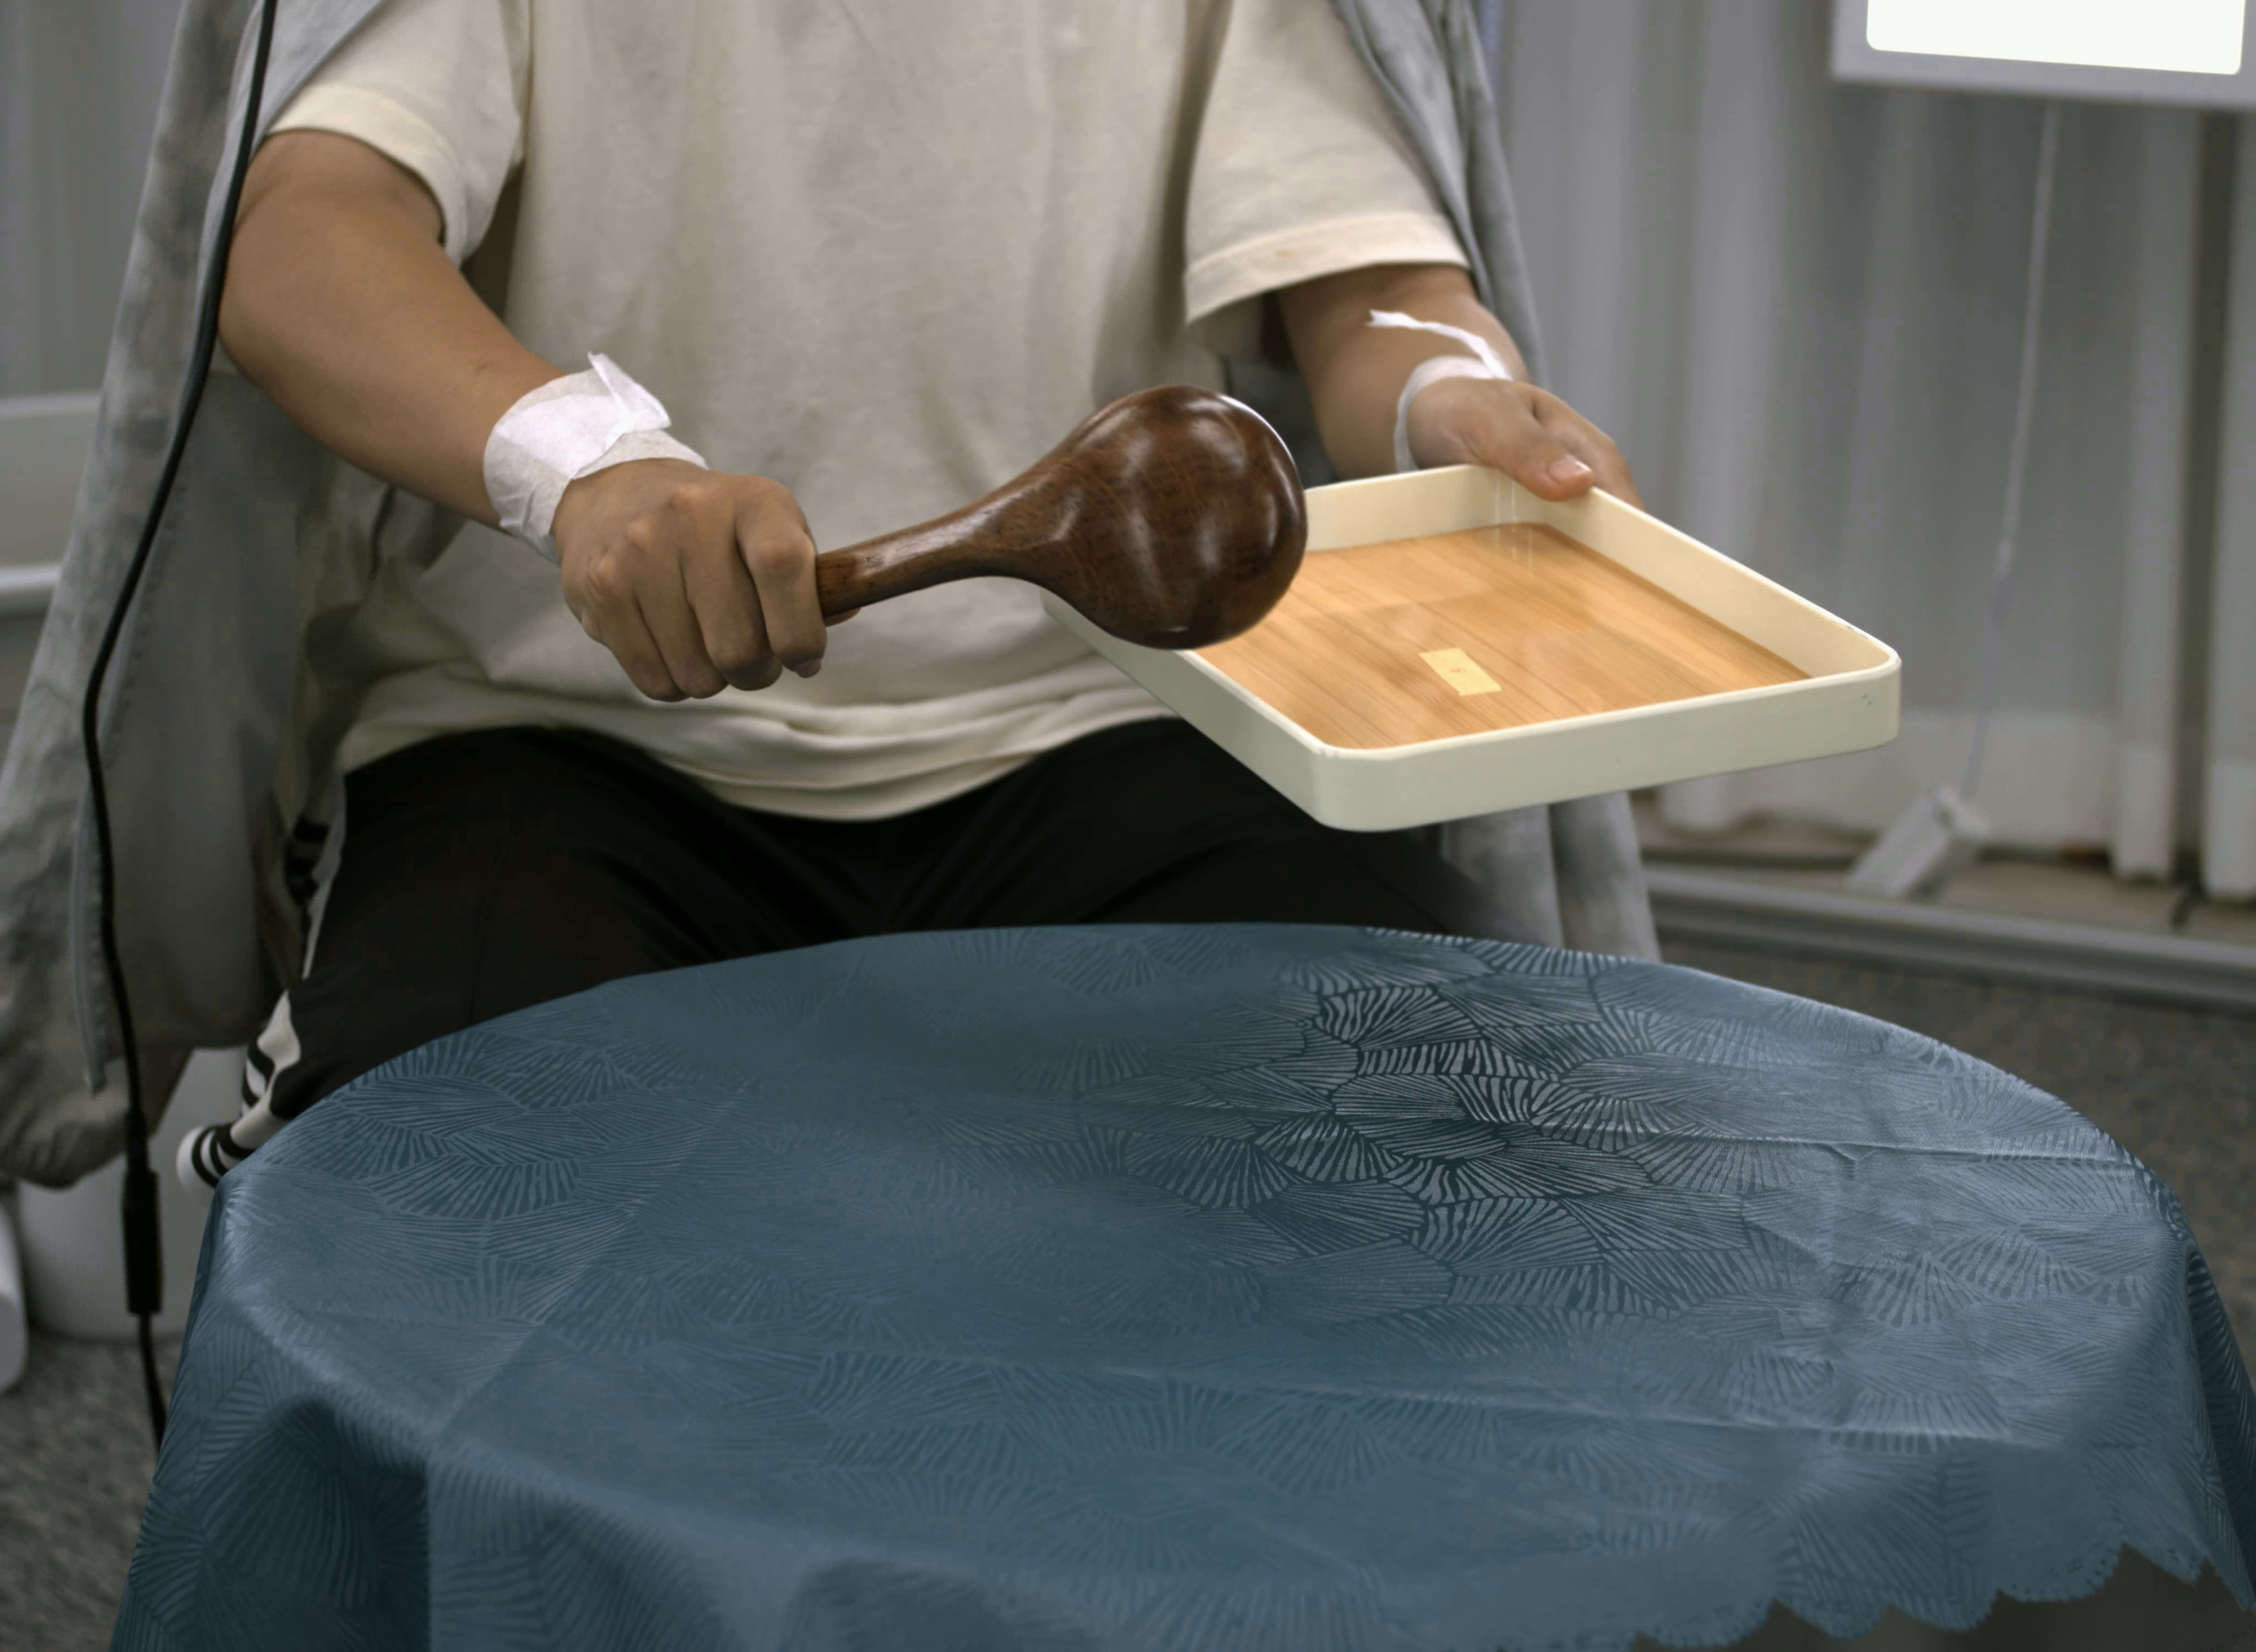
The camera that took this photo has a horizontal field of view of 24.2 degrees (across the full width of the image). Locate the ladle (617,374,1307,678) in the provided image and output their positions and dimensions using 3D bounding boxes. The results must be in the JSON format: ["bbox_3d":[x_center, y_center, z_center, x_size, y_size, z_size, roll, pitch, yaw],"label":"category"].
[{"bbox_3d":[-0.054,-0.080,1.654,0.077,0.082,0.272,13,-17,-38],"label":"ladle"}]

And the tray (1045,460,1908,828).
[{"bbox_3d":[0.104,-0.062,1.687,0.192,0.027,0.297,-9,19,-17],"label":"tray"}]
